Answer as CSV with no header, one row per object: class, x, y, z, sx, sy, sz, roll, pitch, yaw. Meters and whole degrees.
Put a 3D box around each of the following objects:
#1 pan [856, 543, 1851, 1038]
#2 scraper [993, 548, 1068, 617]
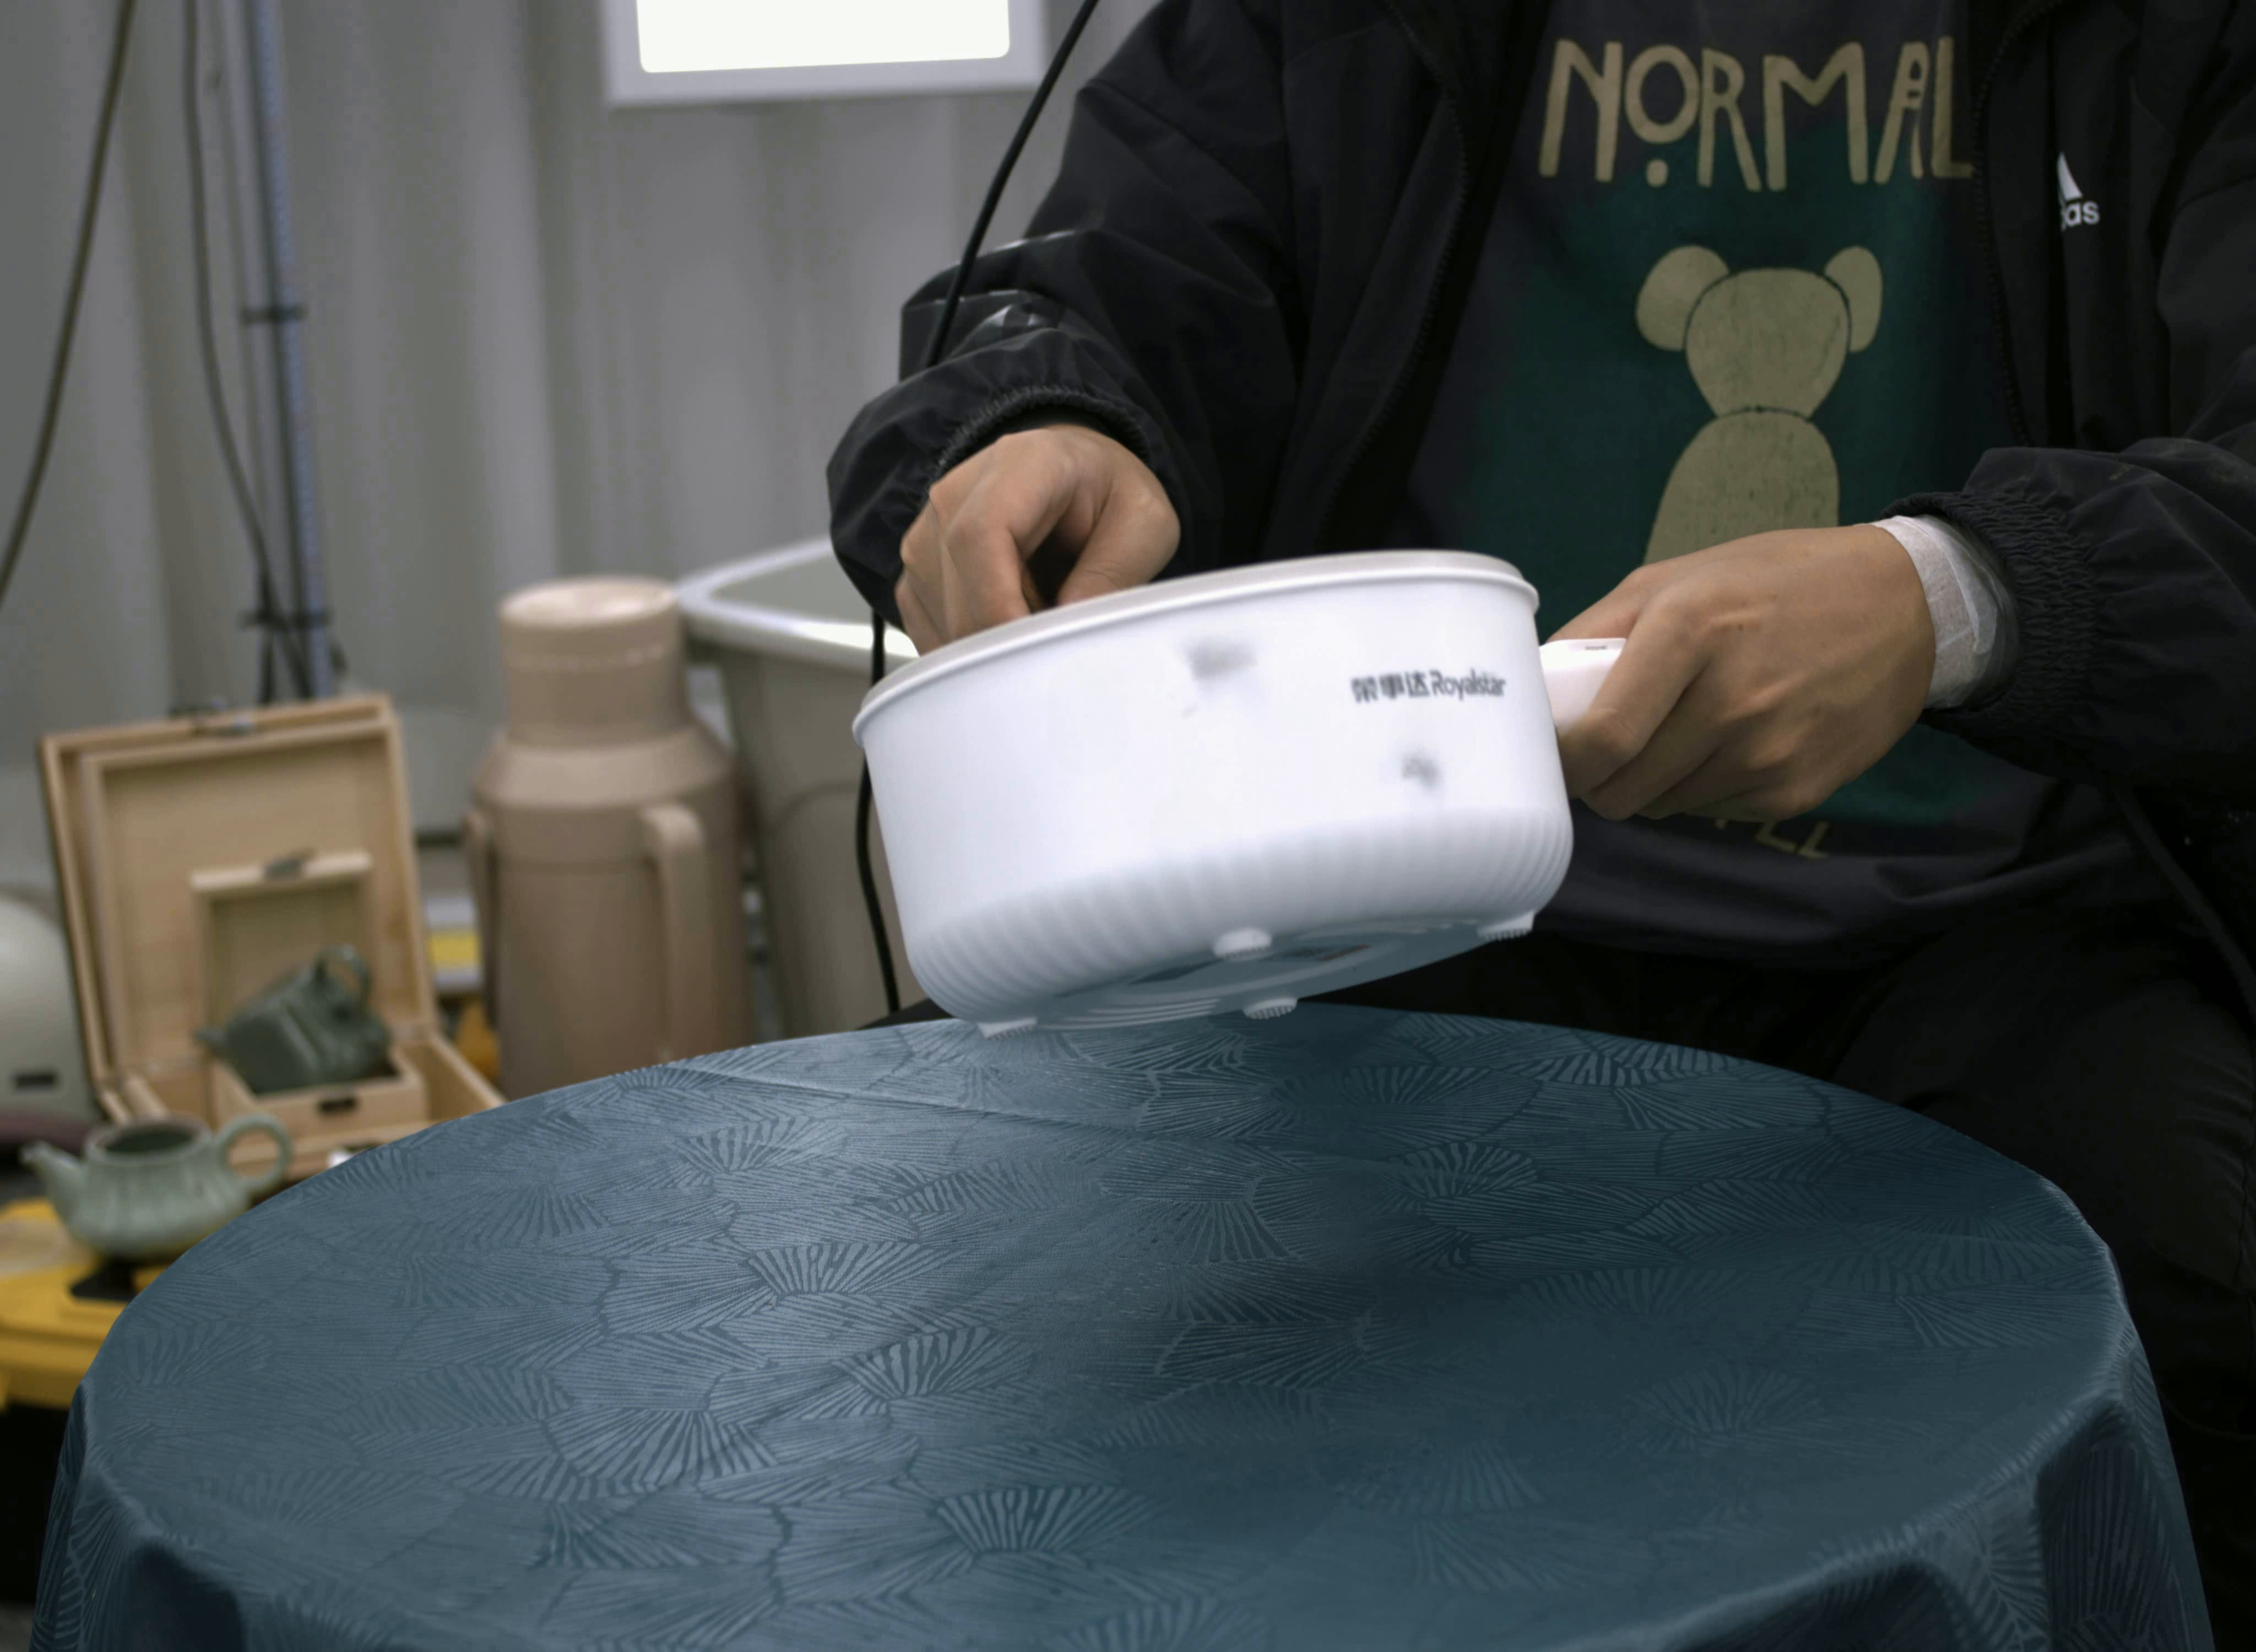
pan,0.086,-0.004,1.615,0.352,0.103,0.200,-1,-15,-41
scraper,-0.020,-0.044,1.660,0.011,0.075,0.213,-45,20,10
